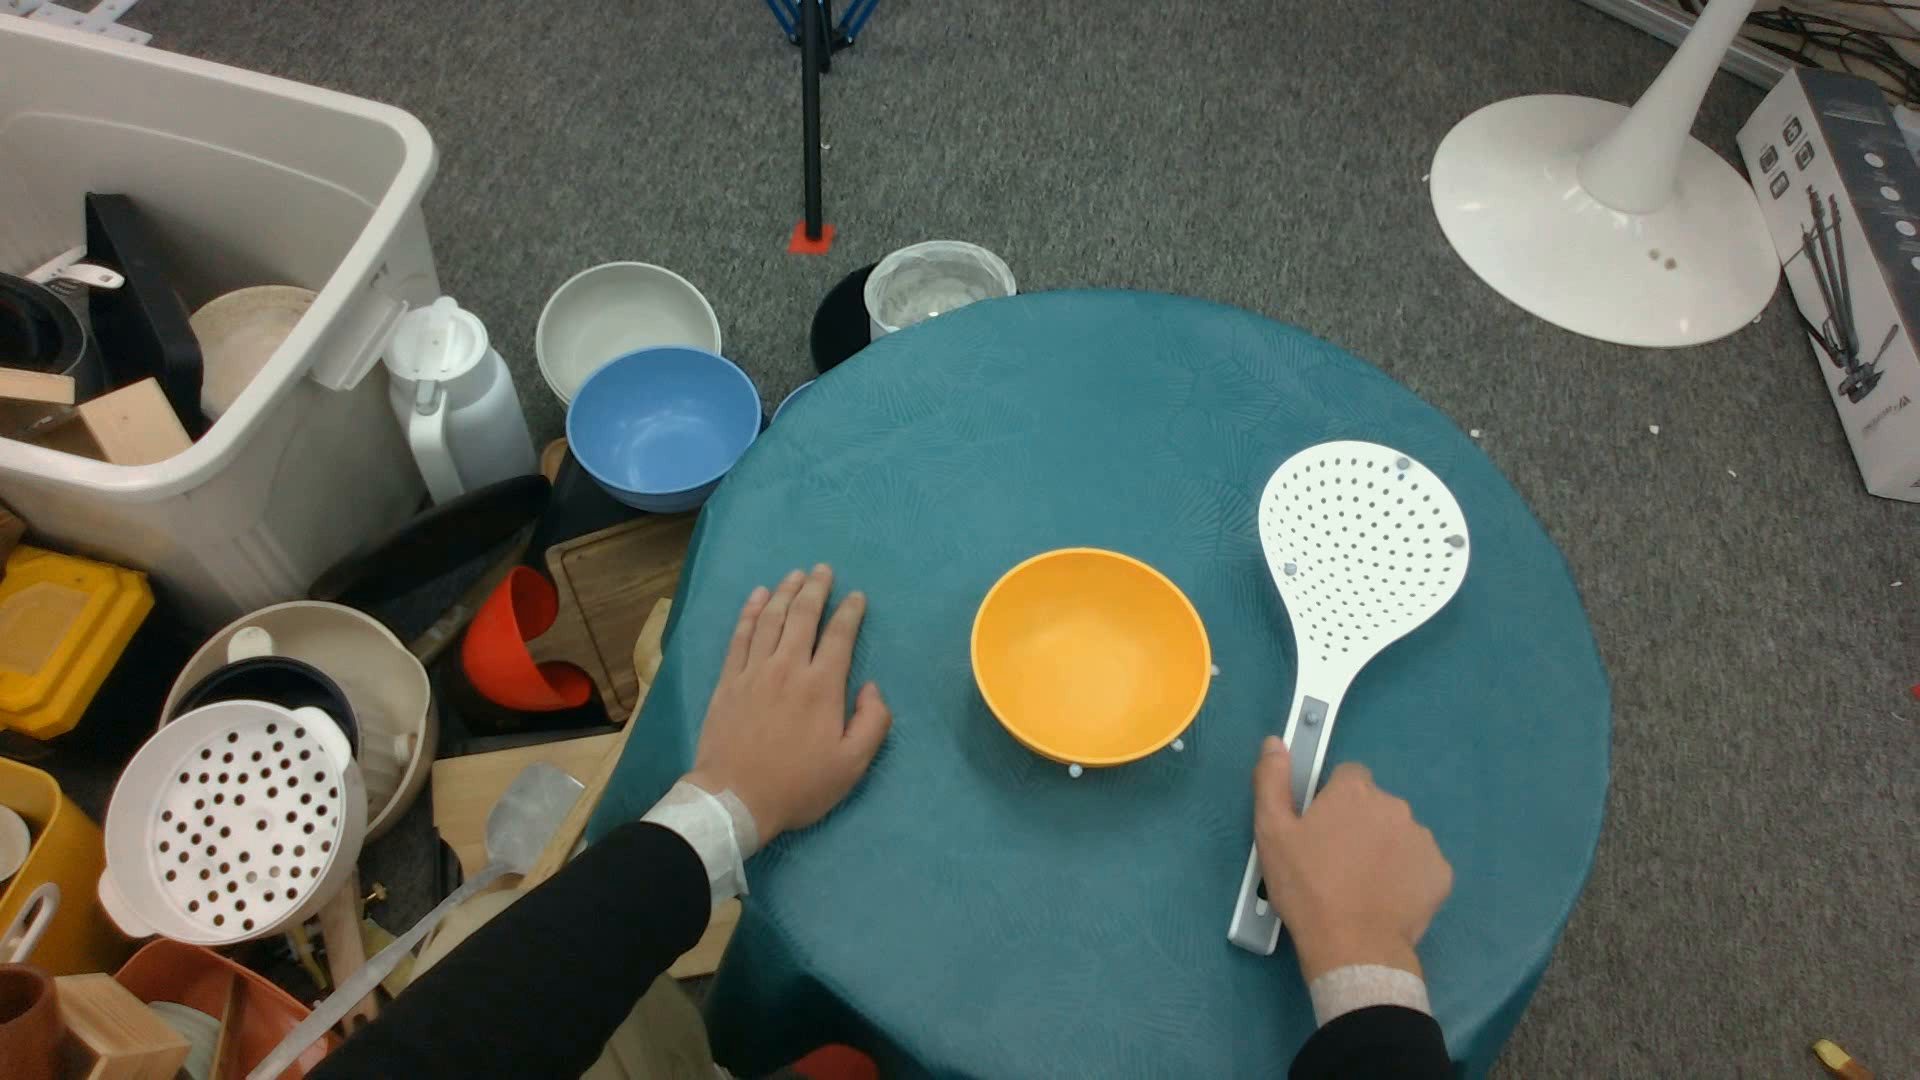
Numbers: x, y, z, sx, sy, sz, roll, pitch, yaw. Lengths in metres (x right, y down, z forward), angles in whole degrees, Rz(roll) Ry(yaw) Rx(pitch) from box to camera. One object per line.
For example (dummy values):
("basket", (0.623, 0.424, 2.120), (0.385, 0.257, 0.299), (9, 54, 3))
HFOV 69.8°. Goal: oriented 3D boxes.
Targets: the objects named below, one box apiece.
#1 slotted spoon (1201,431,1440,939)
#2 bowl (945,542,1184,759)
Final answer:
("slotted spoon", (0.211, 0.080, 0.861), (0.136, 0.045, 0.351), (20, 59, 5))
("bowl", (0.060, 0.076, 0.842), (0.145, 0.060, 0.146), (3, 55, -4))
